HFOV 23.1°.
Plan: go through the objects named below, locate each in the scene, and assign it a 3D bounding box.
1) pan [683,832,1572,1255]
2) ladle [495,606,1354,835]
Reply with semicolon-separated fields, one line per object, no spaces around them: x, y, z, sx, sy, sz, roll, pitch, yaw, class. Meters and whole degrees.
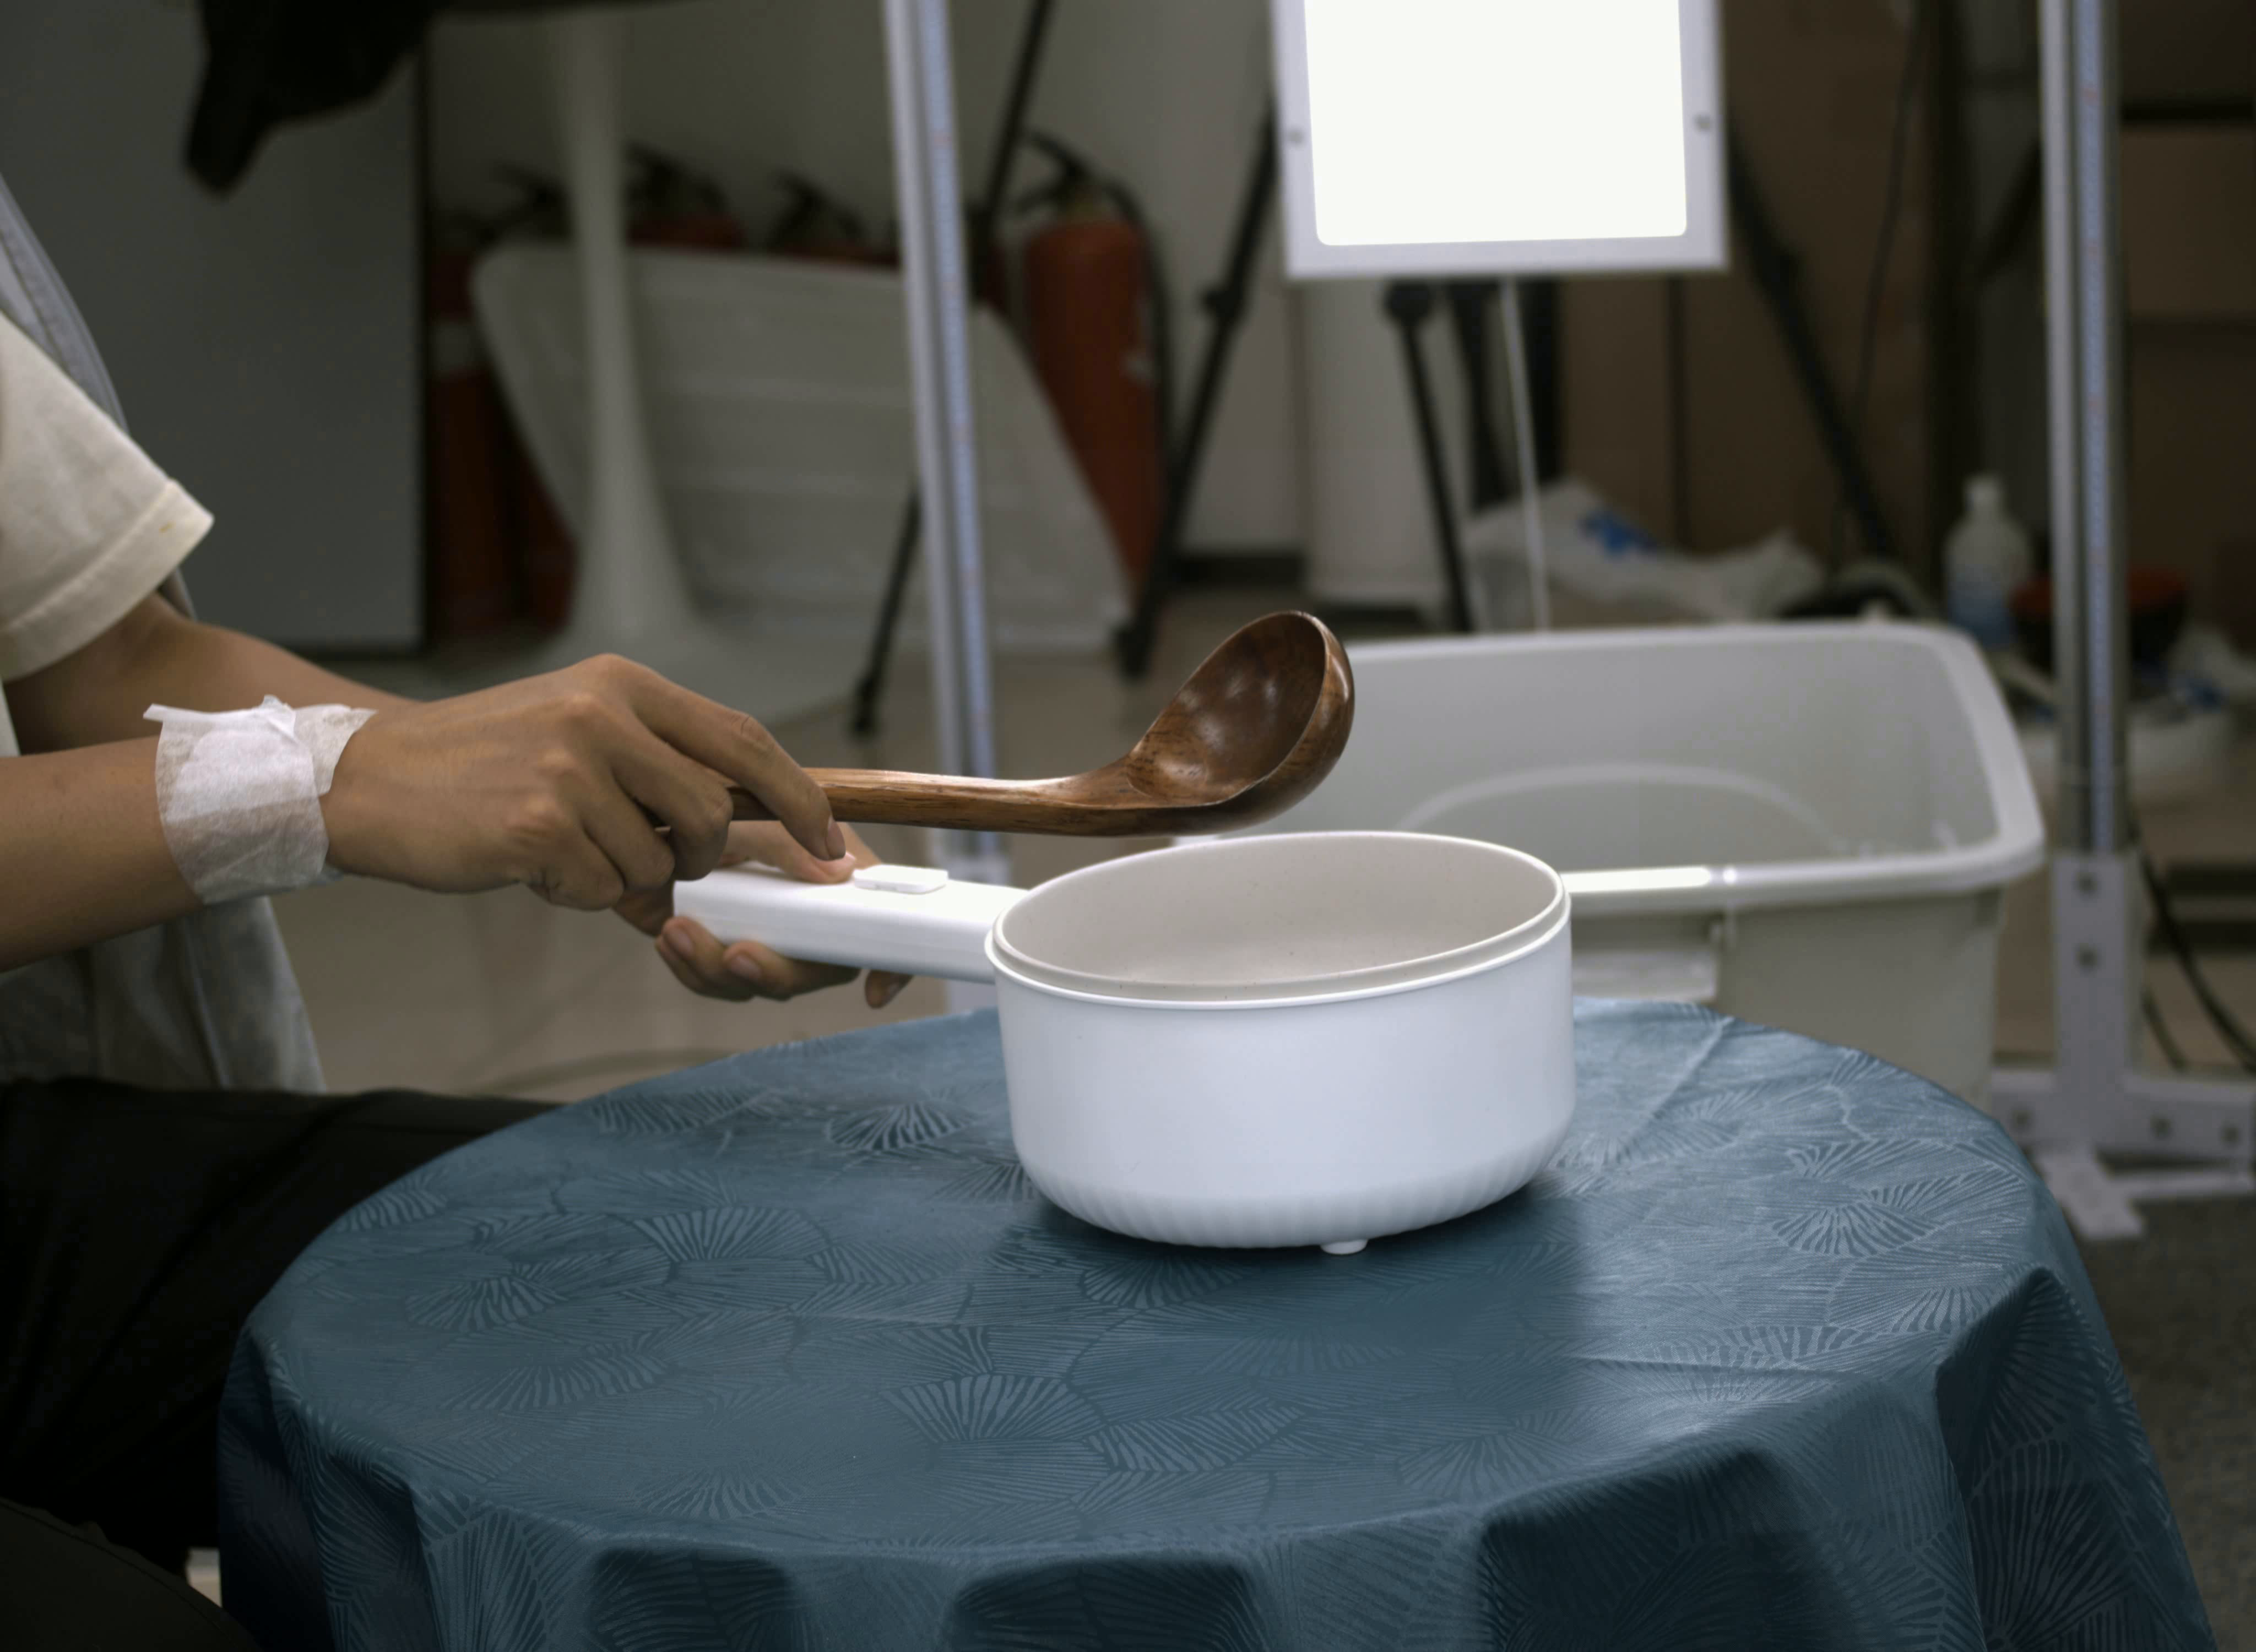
-0.008;0.070;1.922;0.362;0.102;0.196;5;17;37;pan
-0.061;-0.035;1.734;0.270;0.077;0.082;1;17;-15;ladle
